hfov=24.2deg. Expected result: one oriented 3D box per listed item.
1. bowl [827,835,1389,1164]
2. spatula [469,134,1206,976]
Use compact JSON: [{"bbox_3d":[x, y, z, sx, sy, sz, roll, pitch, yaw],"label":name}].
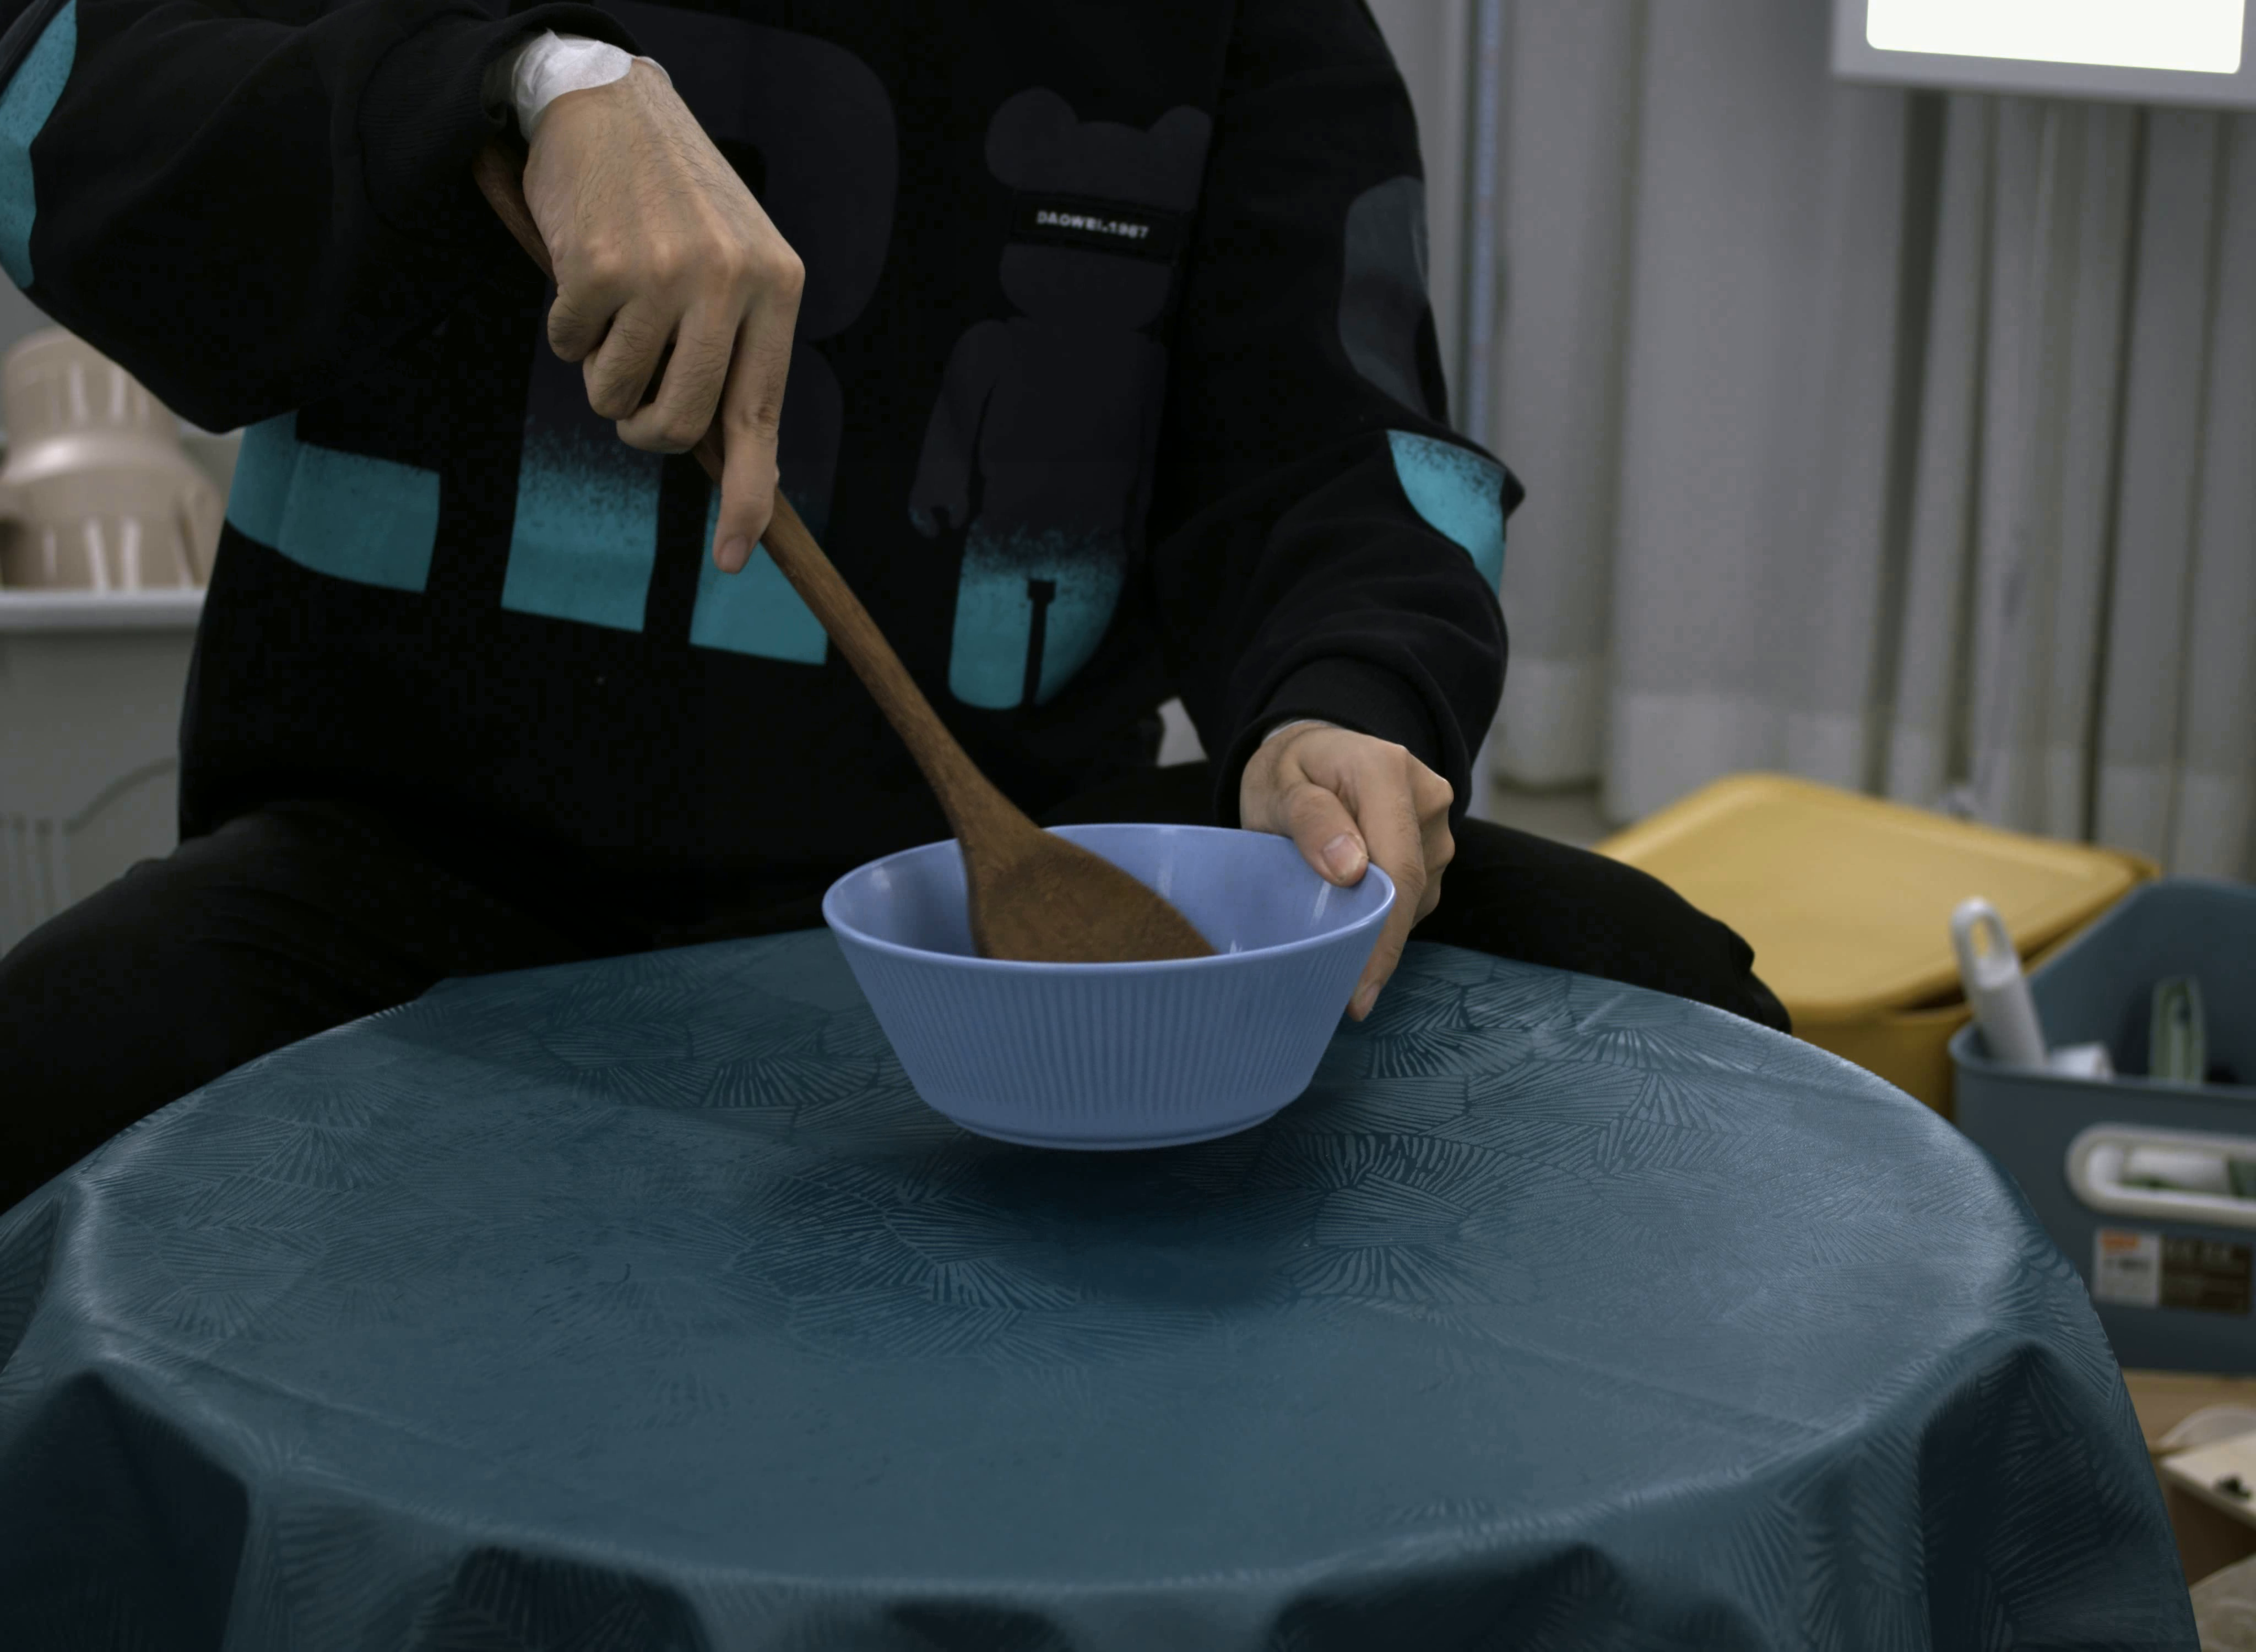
[{"bbox_3d":[-0.003,0.056,1.628,0.175,0.071,0.175,-5,14,2],"label":"bowl"},{"bbox_3d":[-0.094,-0.070,1.654,0.016,0.385,0.096,-42,-10,36],"label":"spatula"}]
